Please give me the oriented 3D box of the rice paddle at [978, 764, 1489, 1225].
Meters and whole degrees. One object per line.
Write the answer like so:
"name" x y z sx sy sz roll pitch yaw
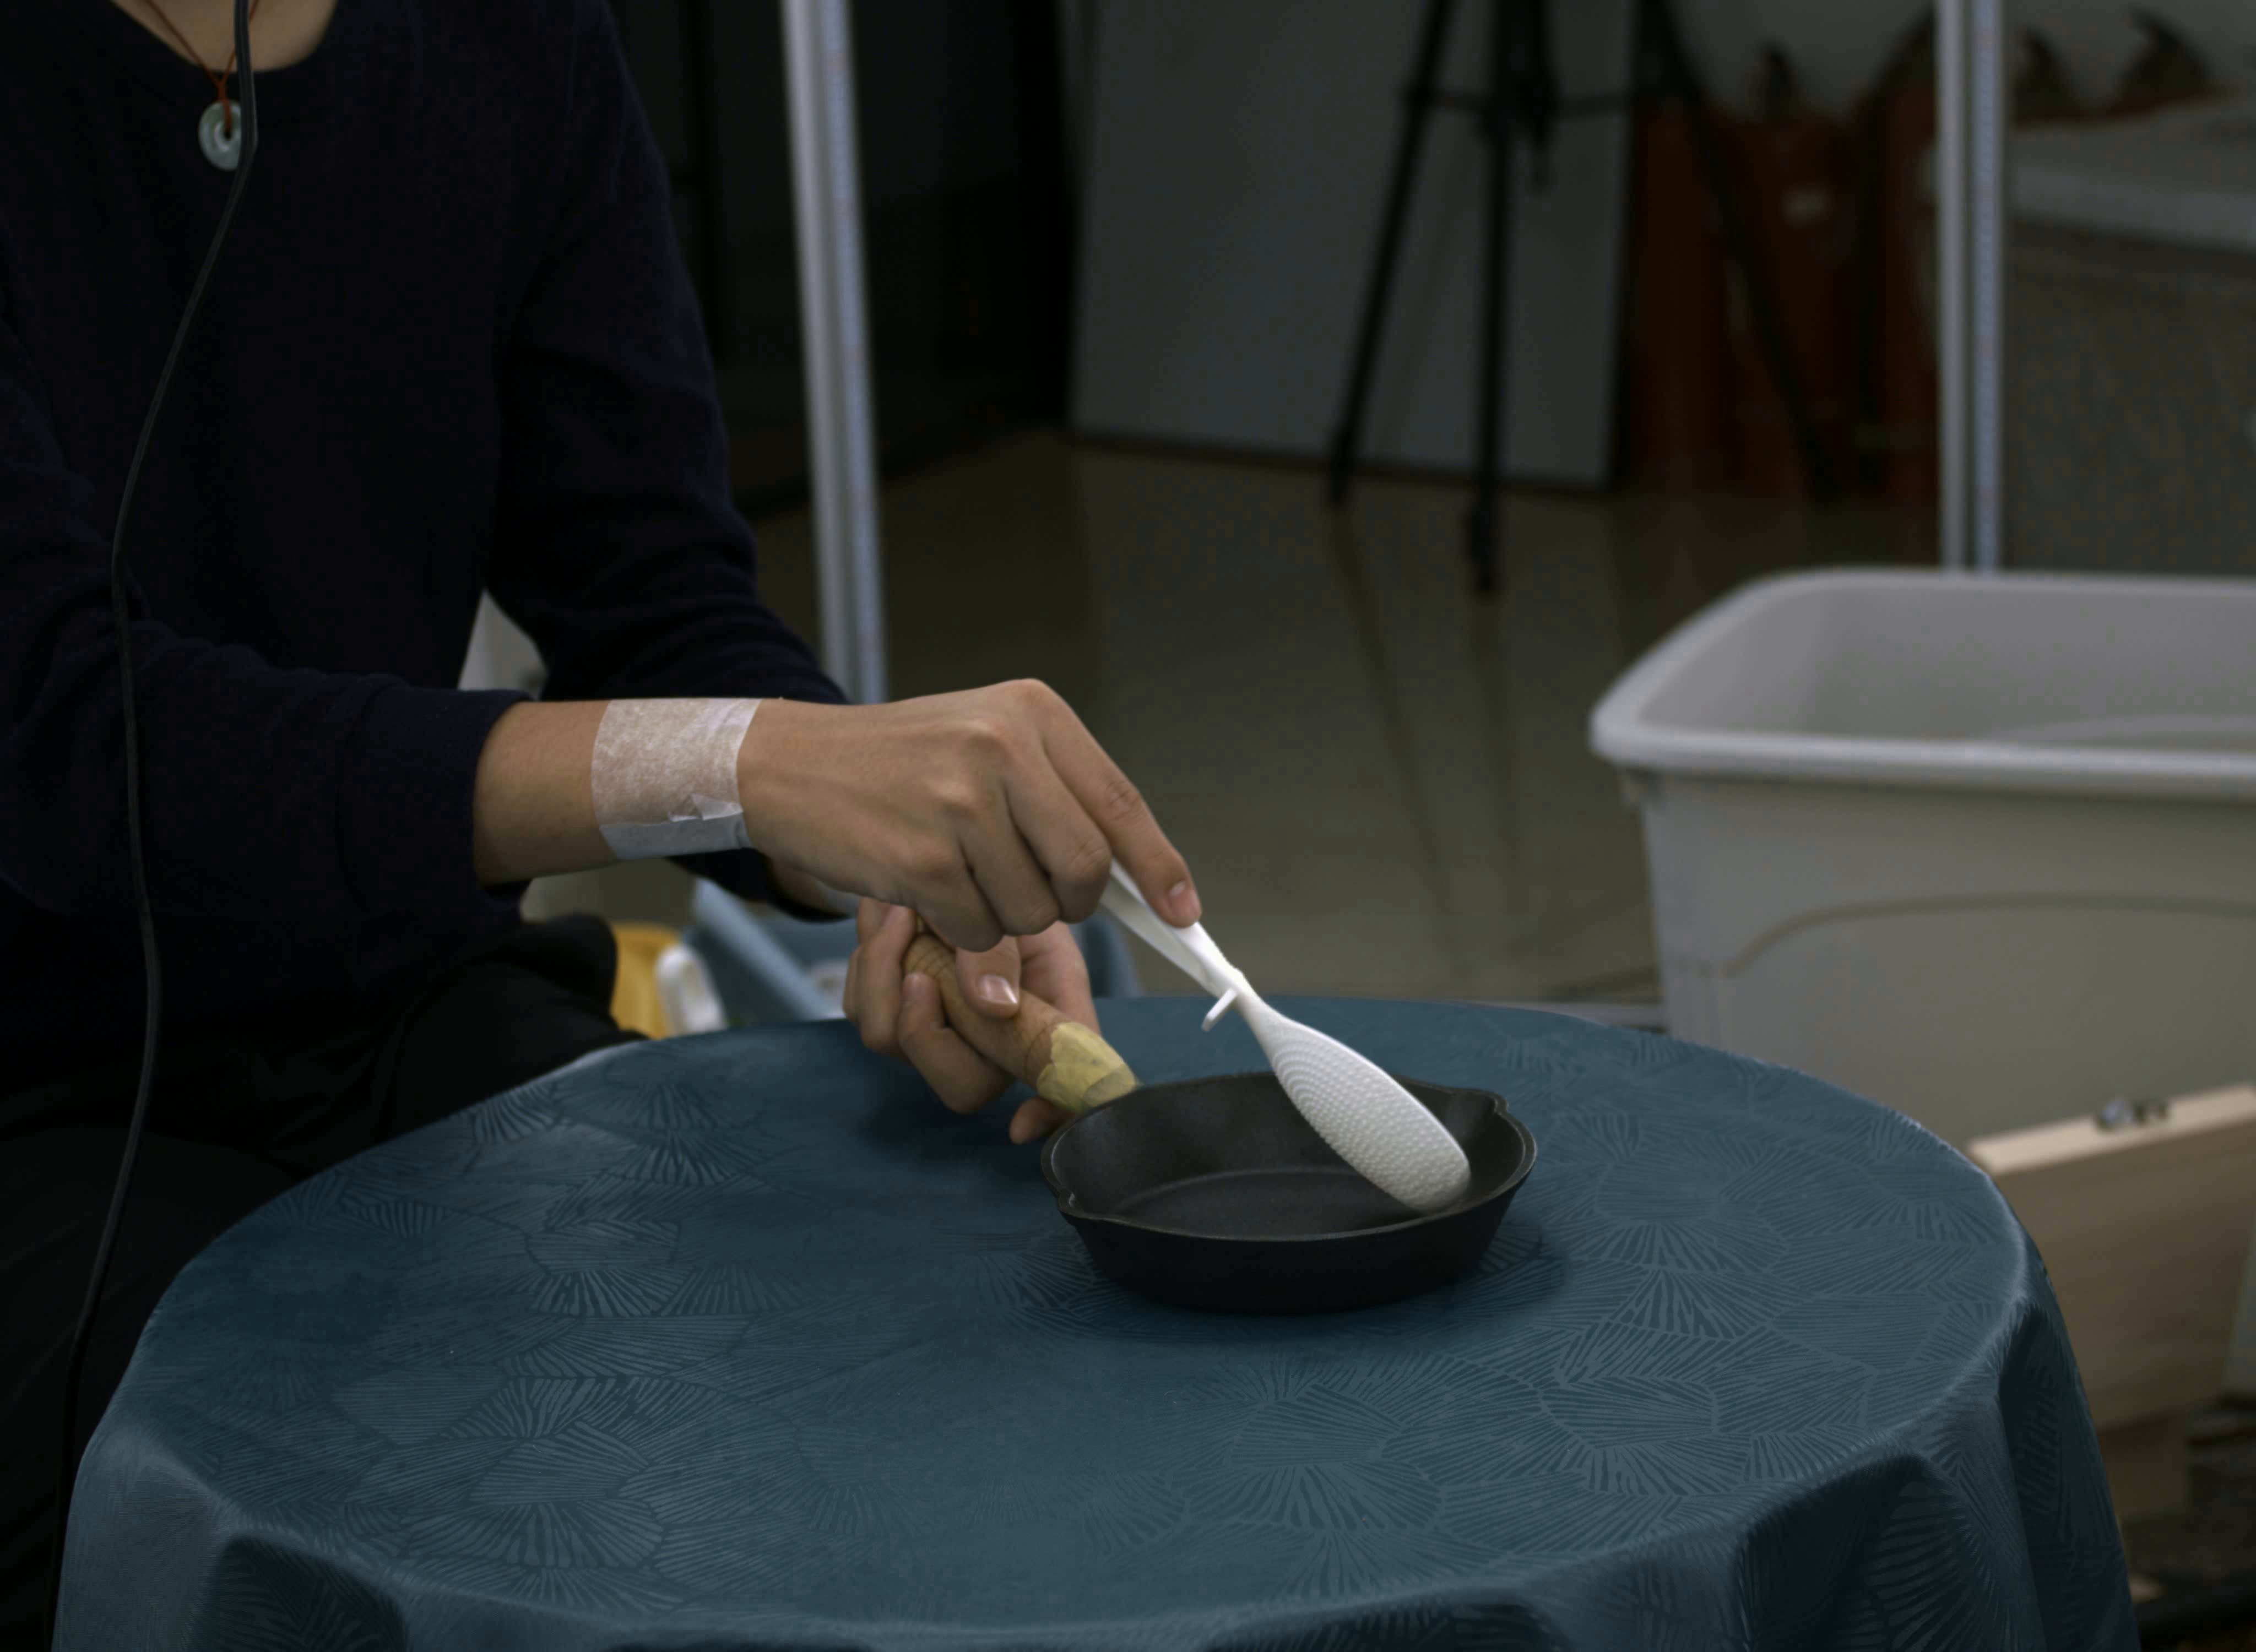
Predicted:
"rice paddle" 0.038 0.057 1.702 0.029 0.206 0.069 -46 -11 -20

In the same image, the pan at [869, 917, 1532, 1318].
"pan" 0.005 0.091 1.762 0.165 0.050 0.328 -12 20 -30
